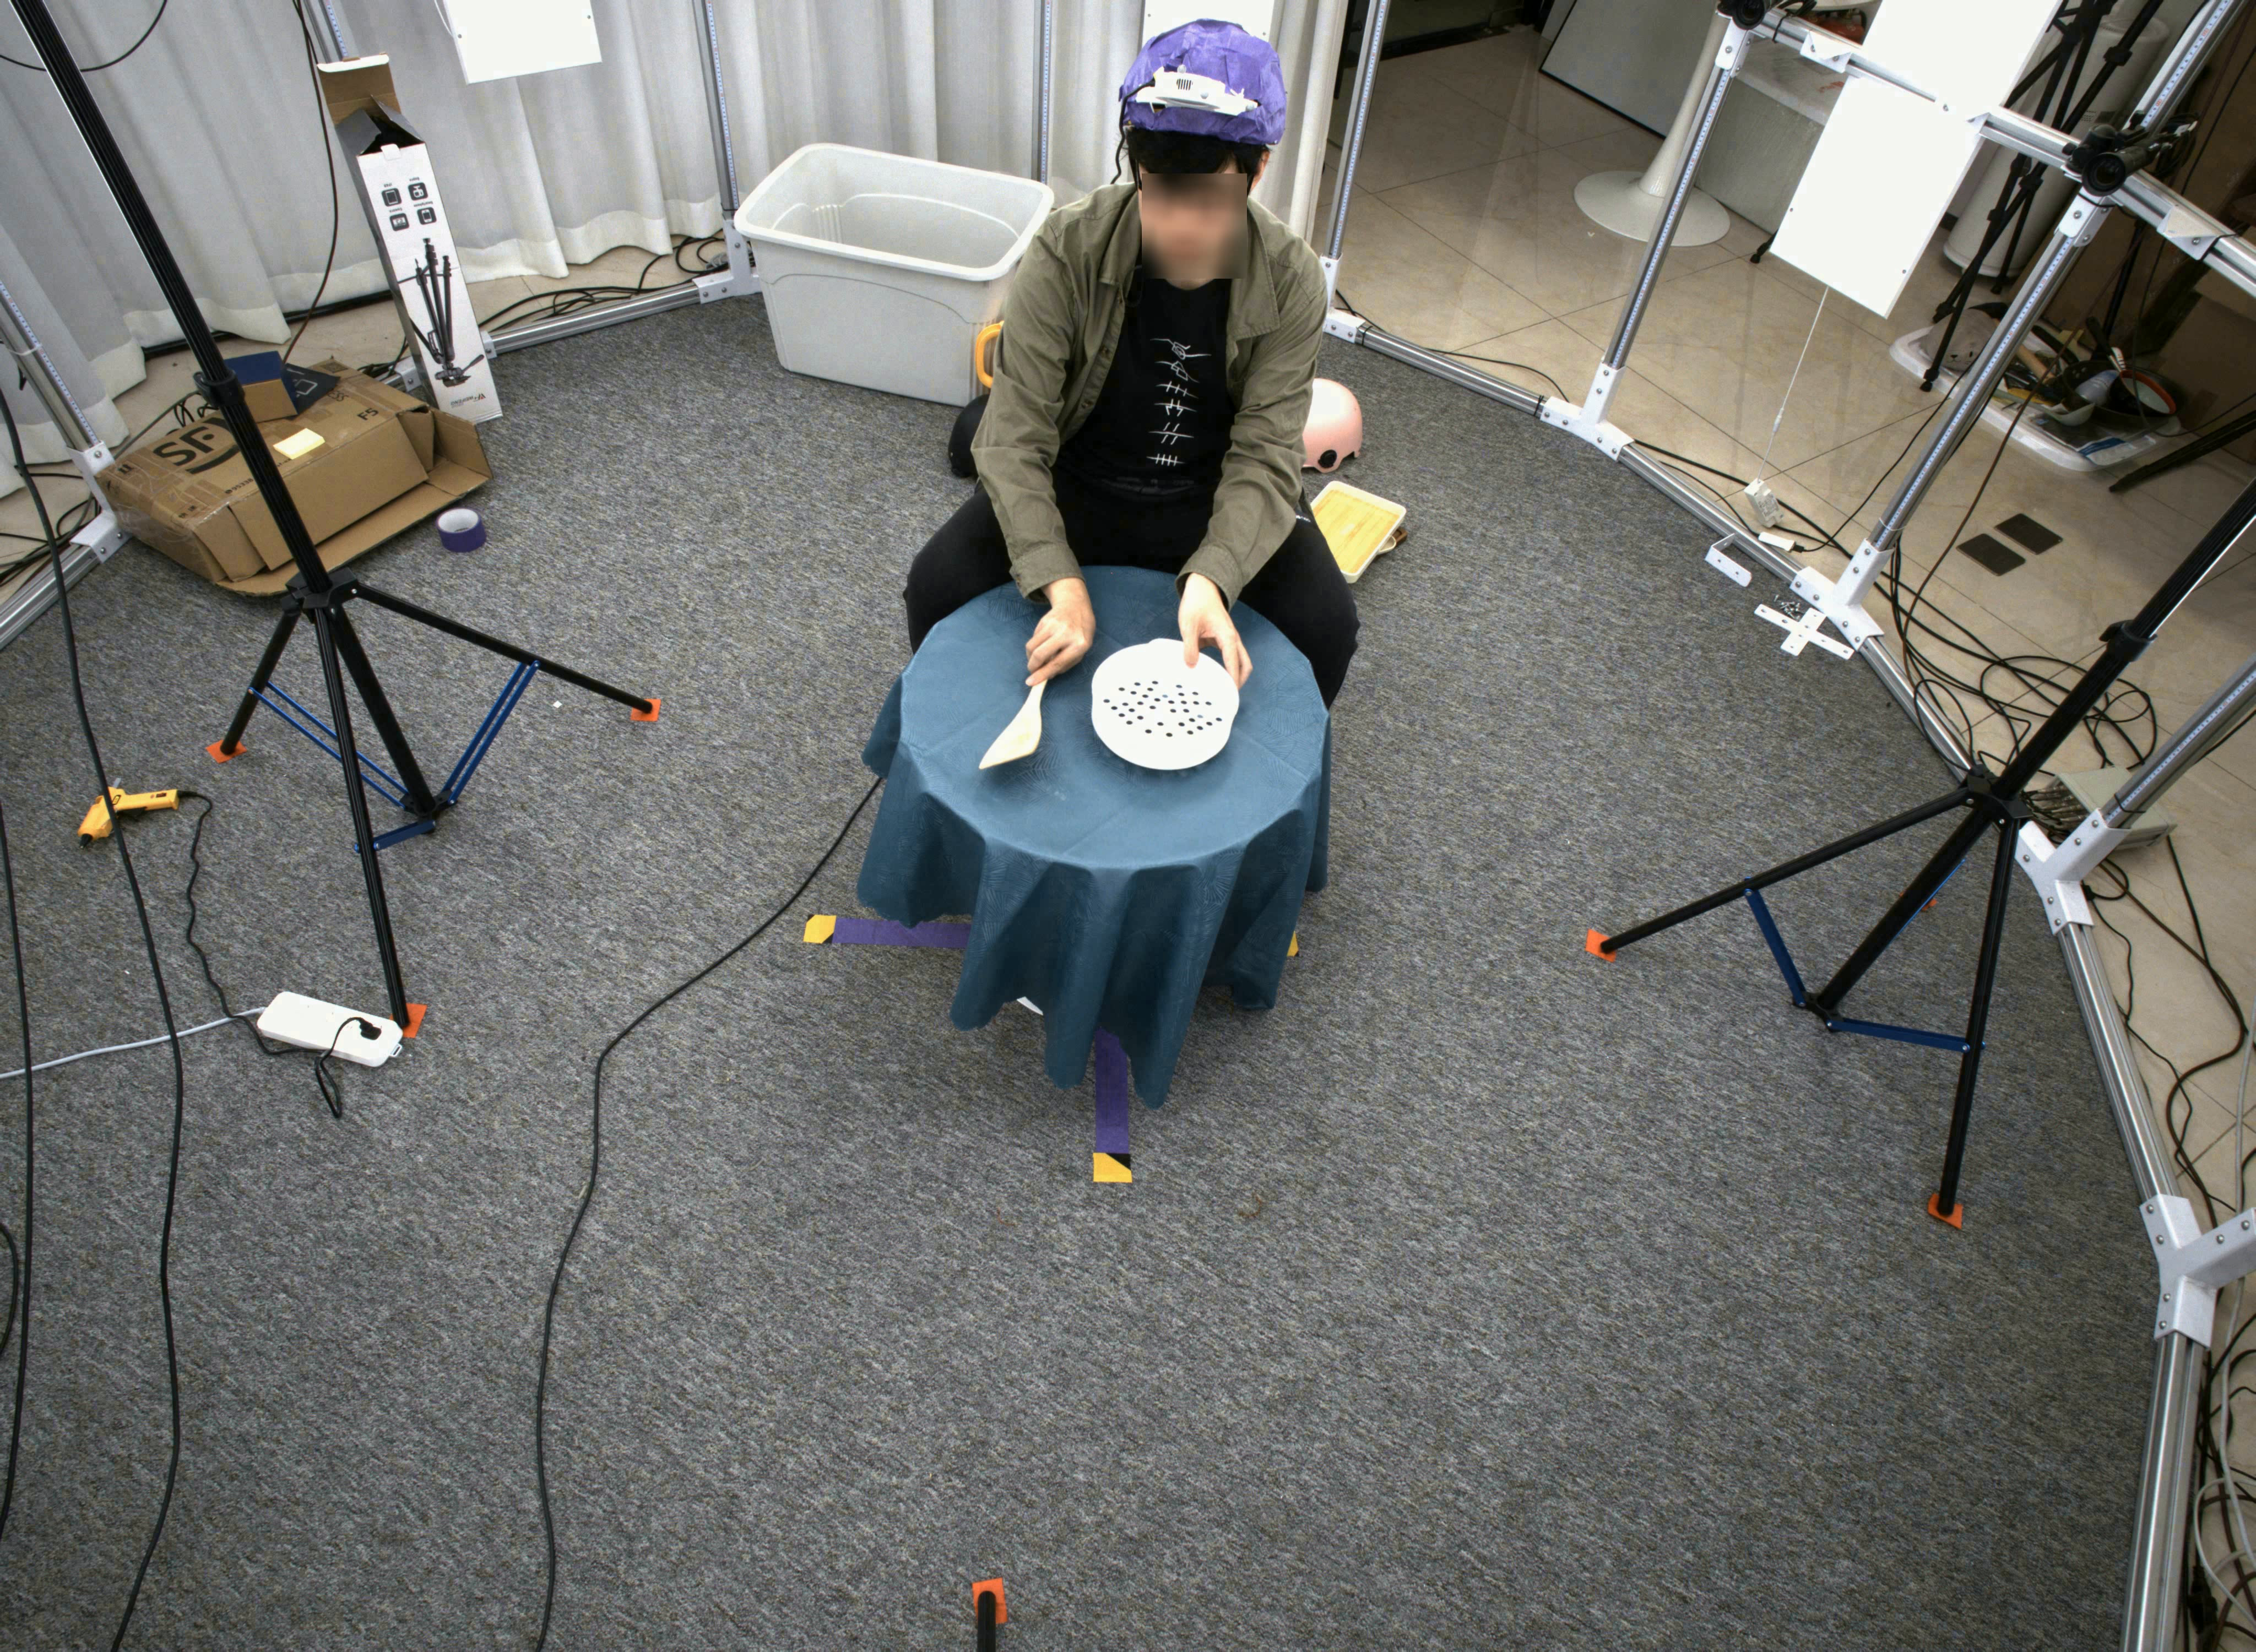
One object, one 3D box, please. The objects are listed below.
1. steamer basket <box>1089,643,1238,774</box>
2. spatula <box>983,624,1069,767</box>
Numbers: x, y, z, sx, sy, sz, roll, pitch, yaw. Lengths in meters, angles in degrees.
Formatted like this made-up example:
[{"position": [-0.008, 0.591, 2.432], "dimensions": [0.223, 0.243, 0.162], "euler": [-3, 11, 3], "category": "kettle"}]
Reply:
[{"position": [0.047, -0.158, 1.754], "dimensions": [0.202, 0.067, 0.236], "euler": [9, 44, 0], "category": "steamer basket"}, {"position": [-0.125, -0.189, 1.777], "dimensions": [0.080, 0.016, 0.335], "euler": [-9, 39, 21], "category": "spatula"}]
